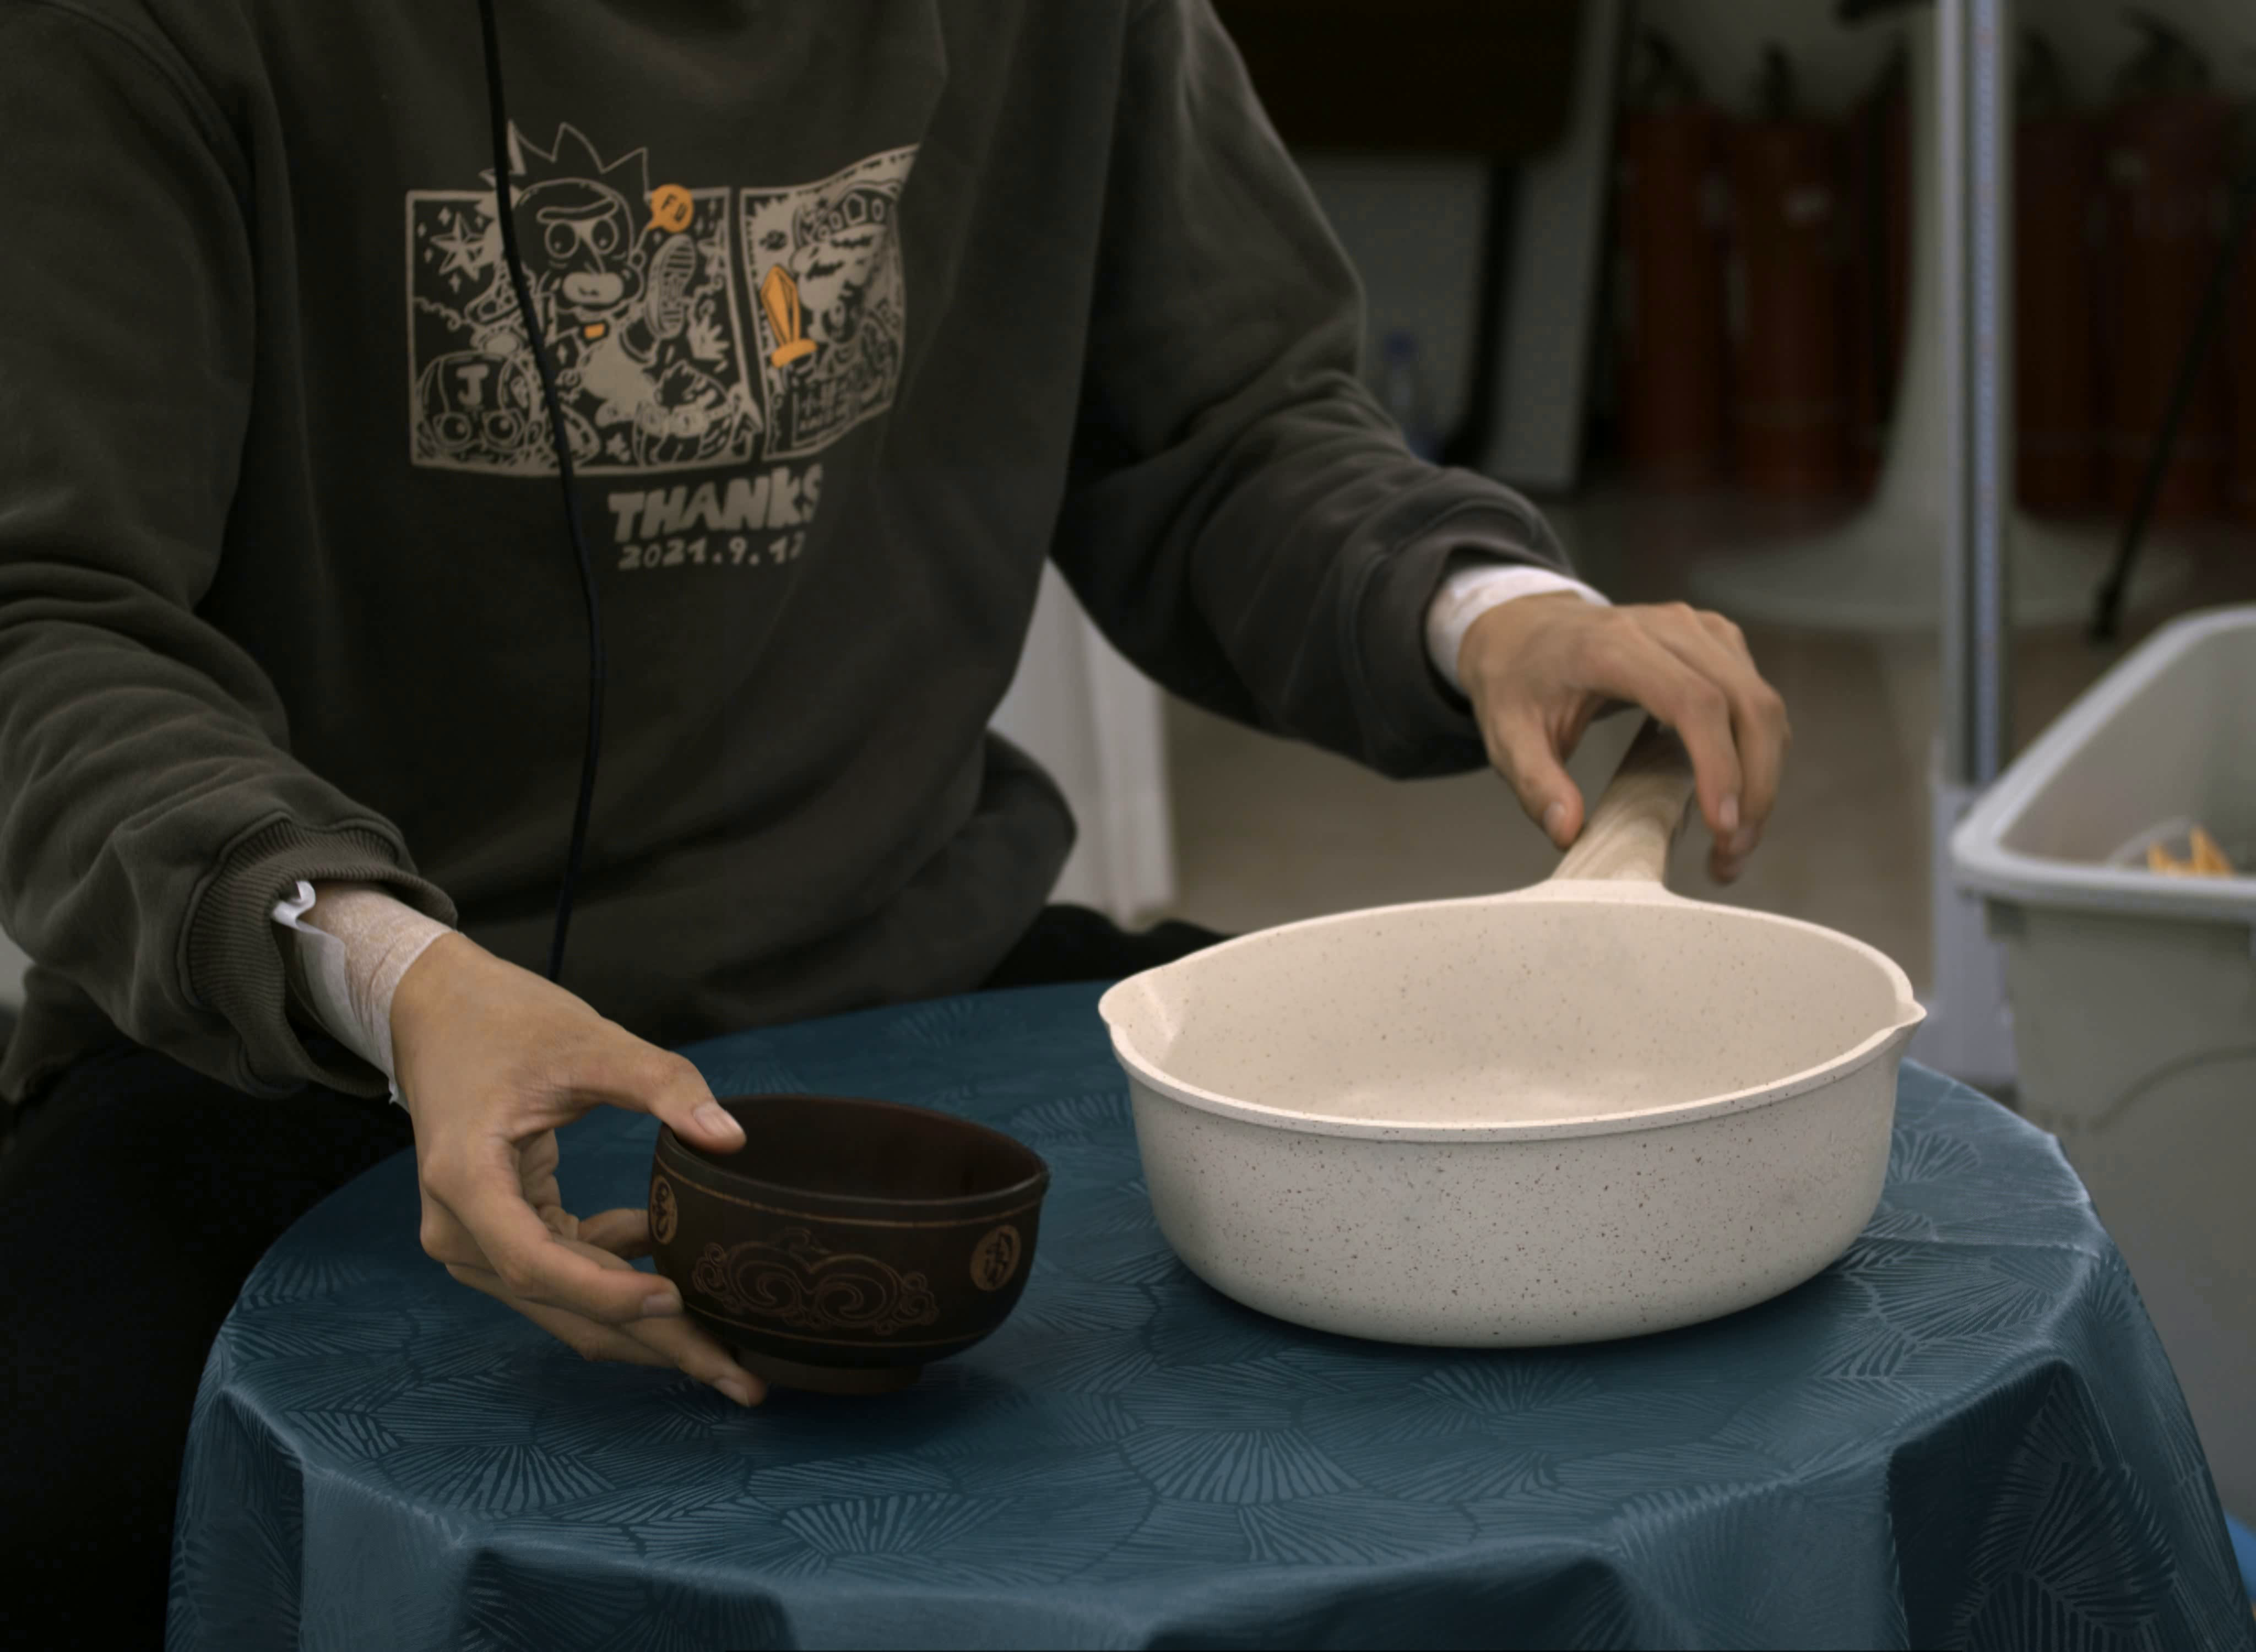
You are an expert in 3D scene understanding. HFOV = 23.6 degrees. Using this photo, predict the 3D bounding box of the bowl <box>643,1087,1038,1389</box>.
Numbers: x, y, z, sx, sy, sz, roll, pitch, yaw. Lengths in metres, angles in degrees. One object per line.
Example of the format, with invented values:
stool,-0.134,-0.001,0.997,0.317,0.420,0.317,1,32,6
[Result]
bowl,-0.086,0.124,1.592,0.116,0.071,0.118,4,10,-2

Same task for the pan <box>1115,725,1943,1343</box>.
pan,0.151,0.064,1.760,0.262,0.103,0.431,-2,13,18
